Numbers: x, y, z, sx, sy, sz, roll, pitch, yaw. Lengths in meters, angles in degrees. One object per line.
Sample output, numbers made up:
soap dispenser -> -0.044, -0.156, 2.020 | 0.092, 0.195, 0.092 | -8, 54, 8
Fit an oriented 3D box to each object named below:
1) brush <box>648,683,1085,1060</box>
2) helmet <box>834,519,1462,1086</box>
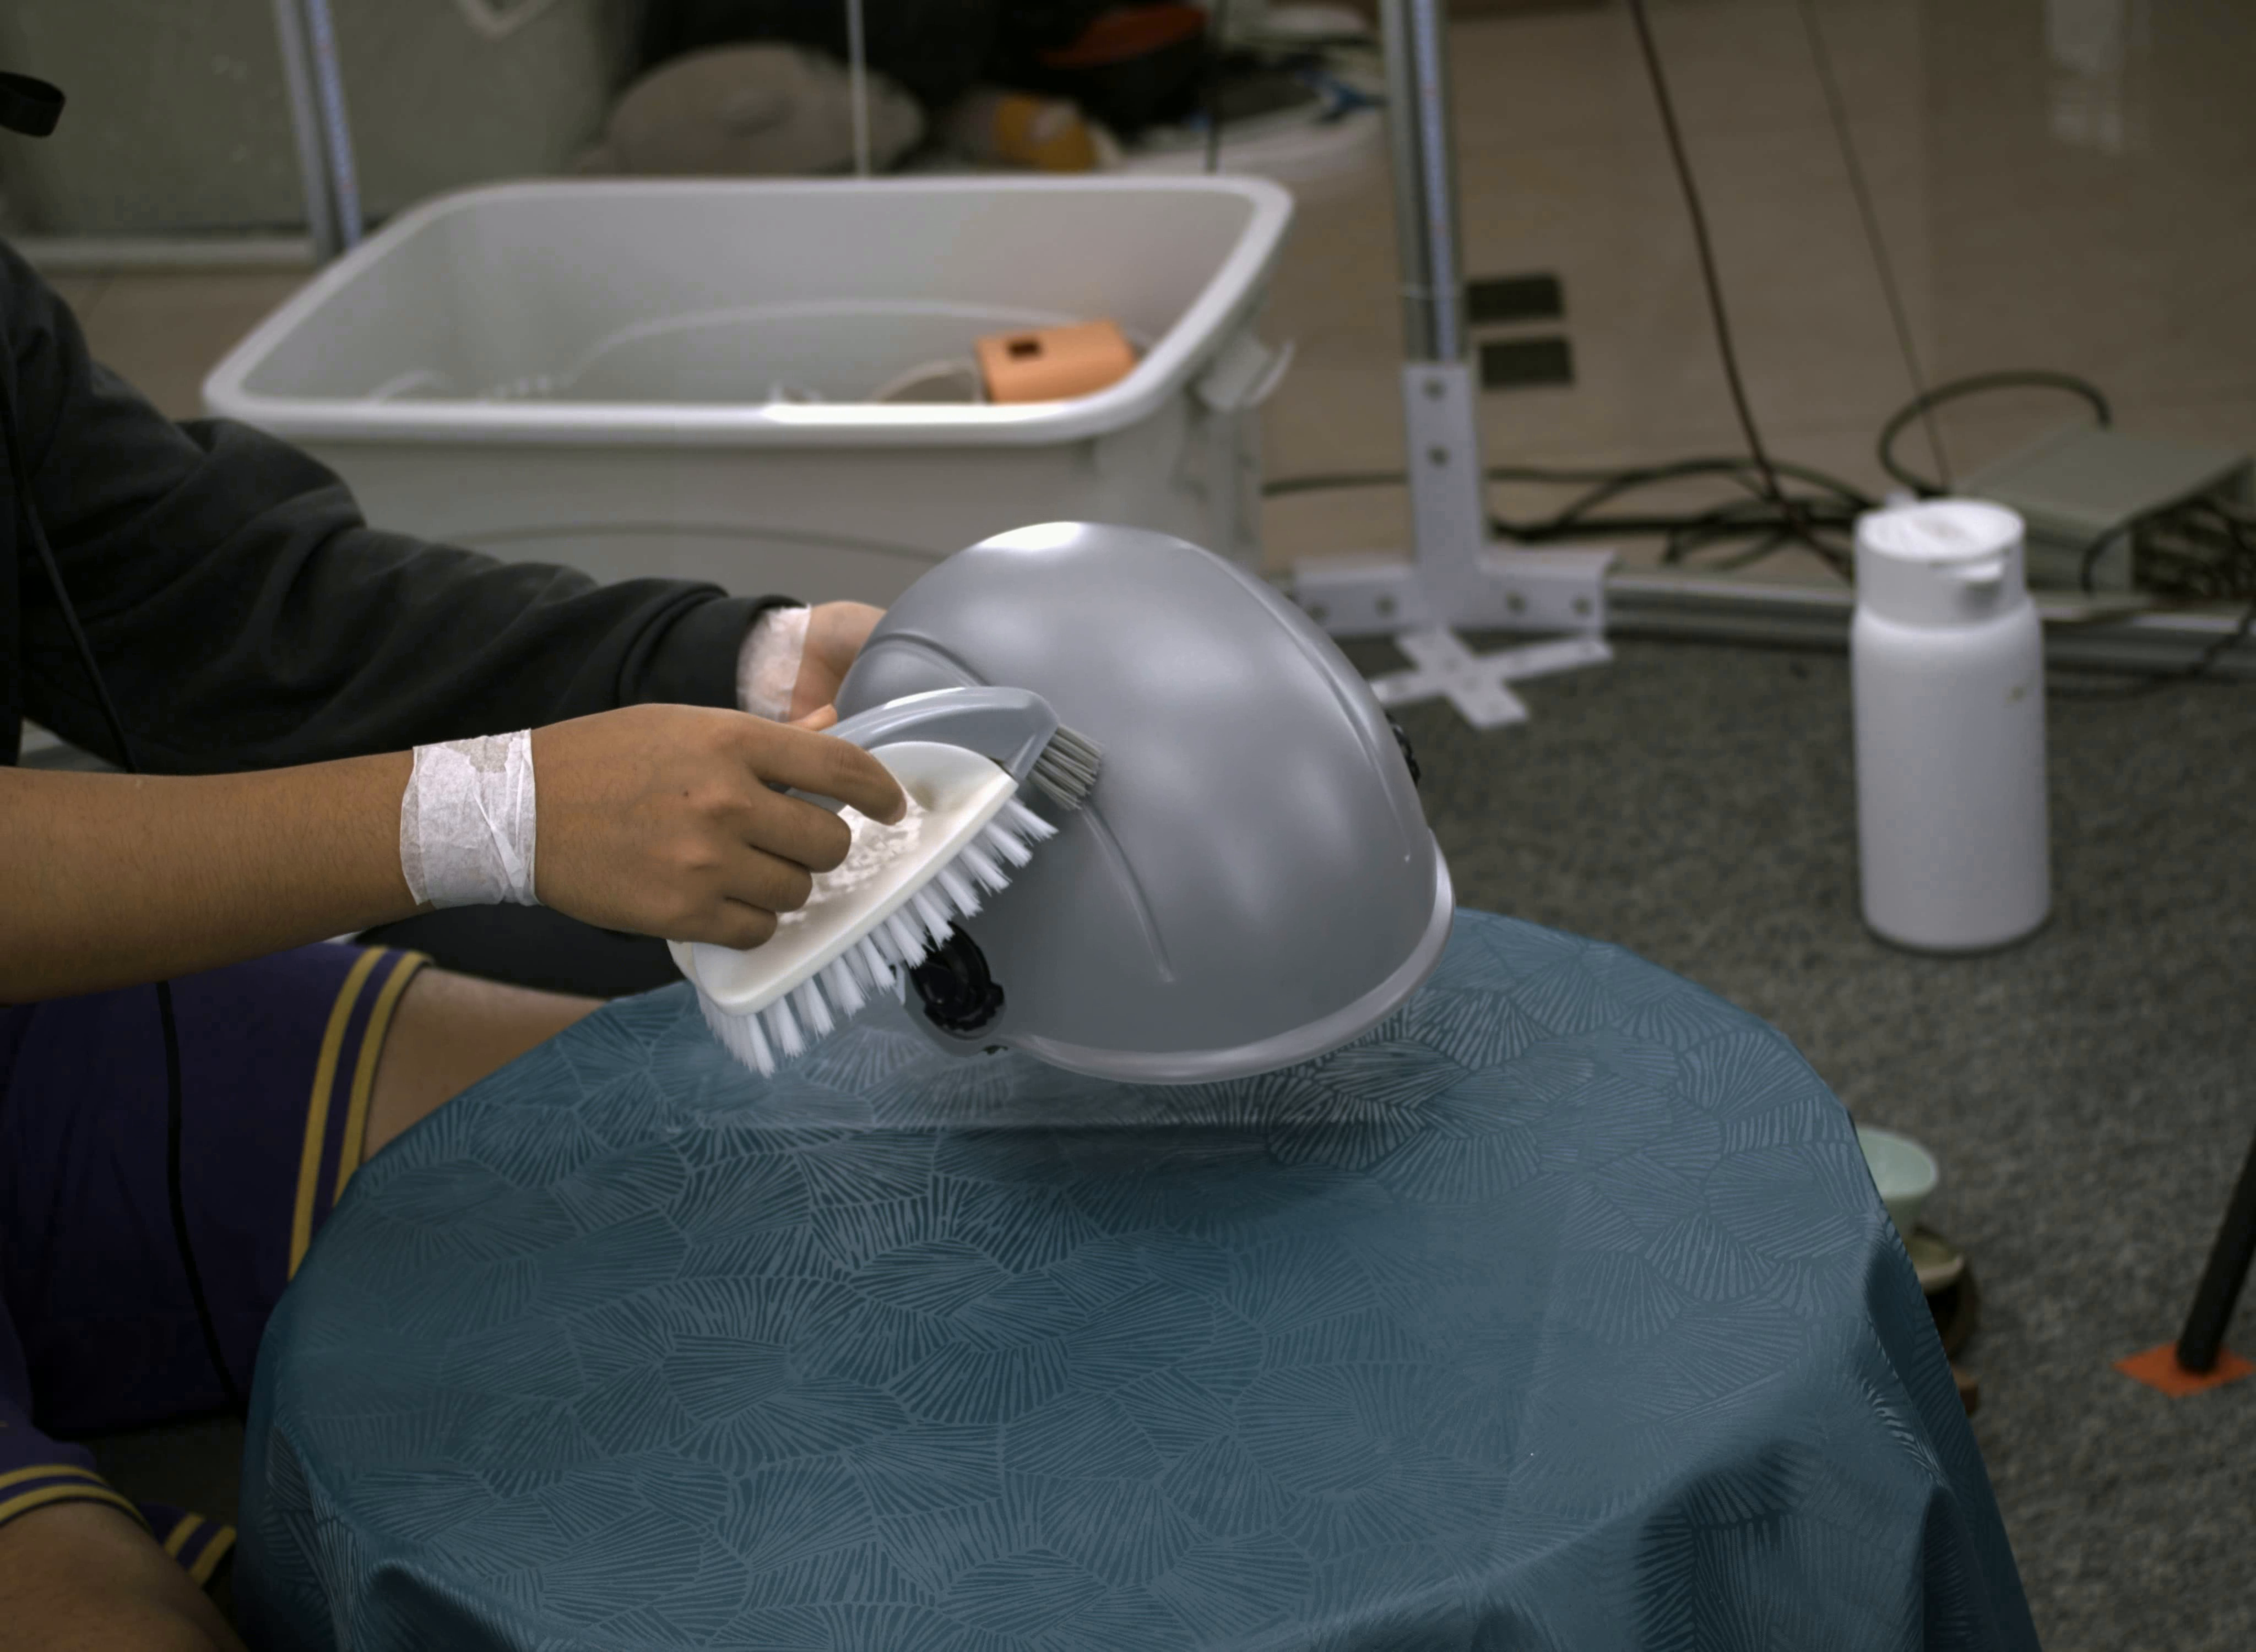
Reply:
brush -> -0.097, -0.002, 2.049 | 0.175, 0.096, 0.060 | -36, 44, -10
helmet -> -0.005, -0.027, 2.188 | 0.230, 0.171, 0.273 | -27, 32, -24
